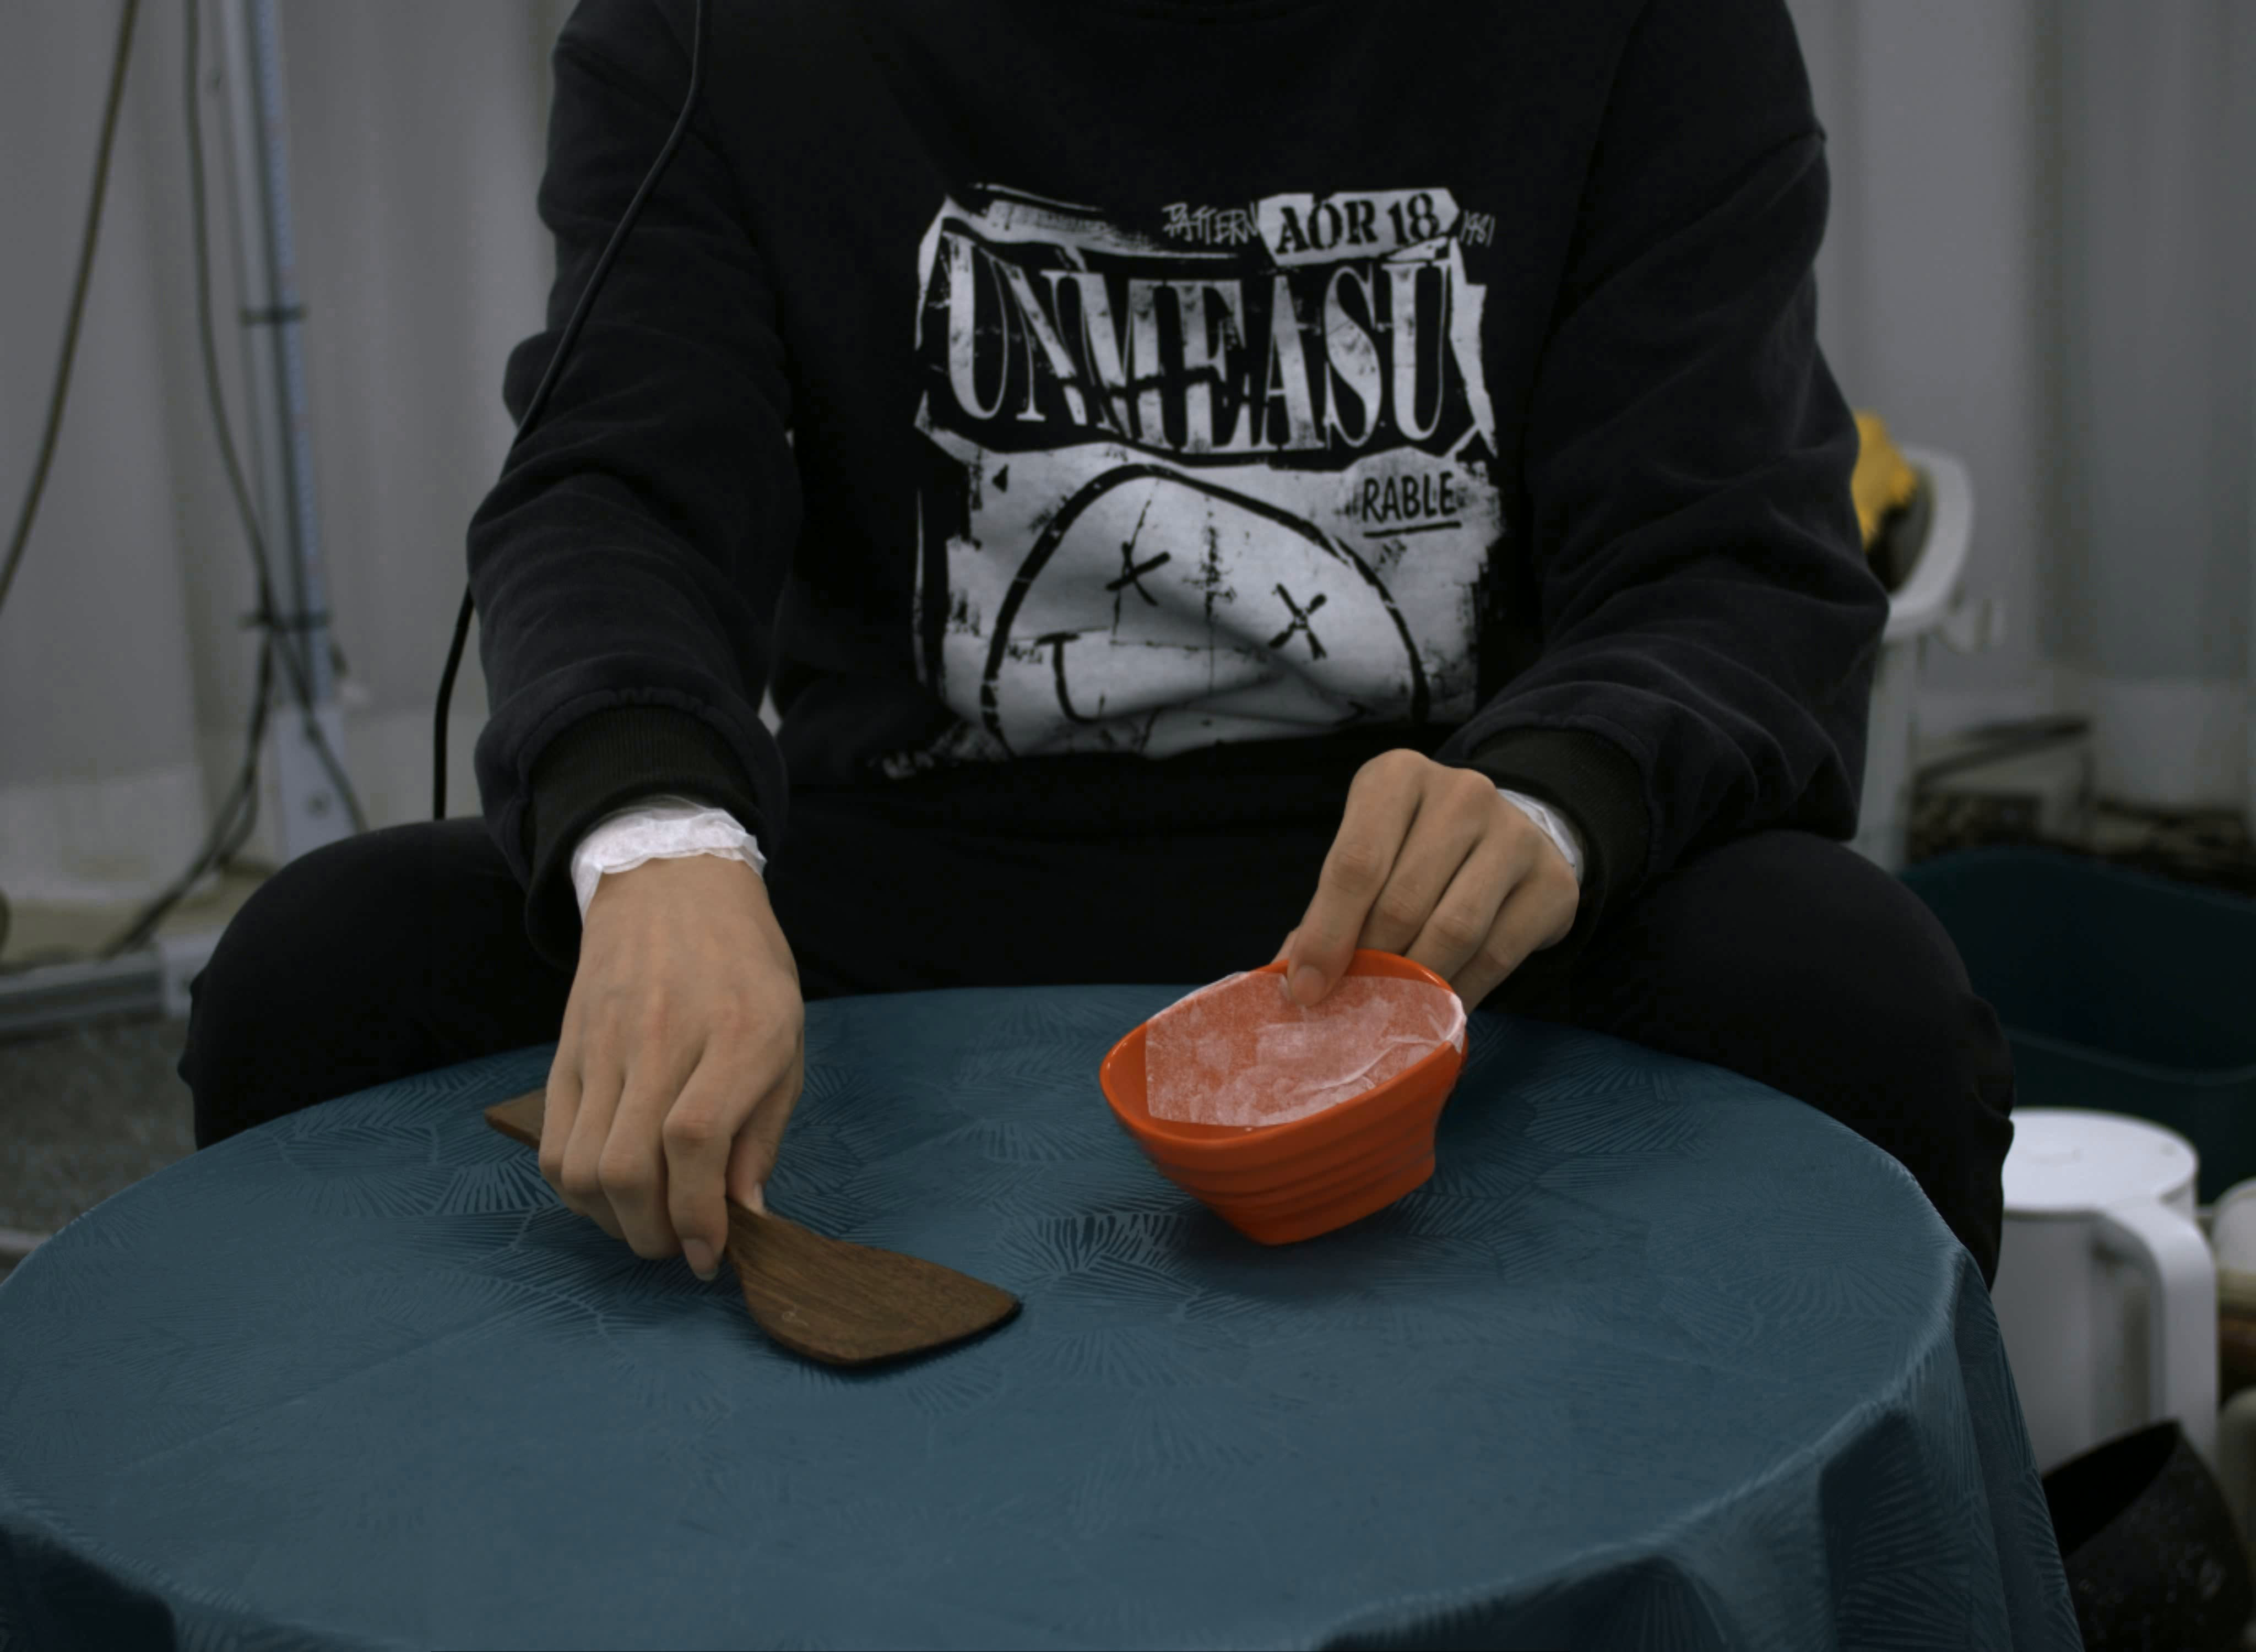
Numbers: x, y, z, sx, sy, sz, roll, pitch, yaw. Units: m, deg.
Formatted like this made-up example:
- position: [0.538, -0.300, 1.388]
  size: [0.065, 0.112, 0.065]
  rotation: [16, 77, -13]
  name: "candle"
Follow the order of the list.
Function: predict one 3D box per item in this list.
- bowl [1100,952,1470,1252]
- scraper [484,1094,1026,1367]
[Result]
- position: [0.053, 0.089, 1.678]
  size: [0.118, 0.051, 0.120]
  rotation: [-16, 23, 6]
  name: "bowl"
- position: [-0.122, 0.120, 1.653]
  size: [0.075, 0.011, 0.213]
  rotation: [-13, 27, -42]
  name: "scraper"
